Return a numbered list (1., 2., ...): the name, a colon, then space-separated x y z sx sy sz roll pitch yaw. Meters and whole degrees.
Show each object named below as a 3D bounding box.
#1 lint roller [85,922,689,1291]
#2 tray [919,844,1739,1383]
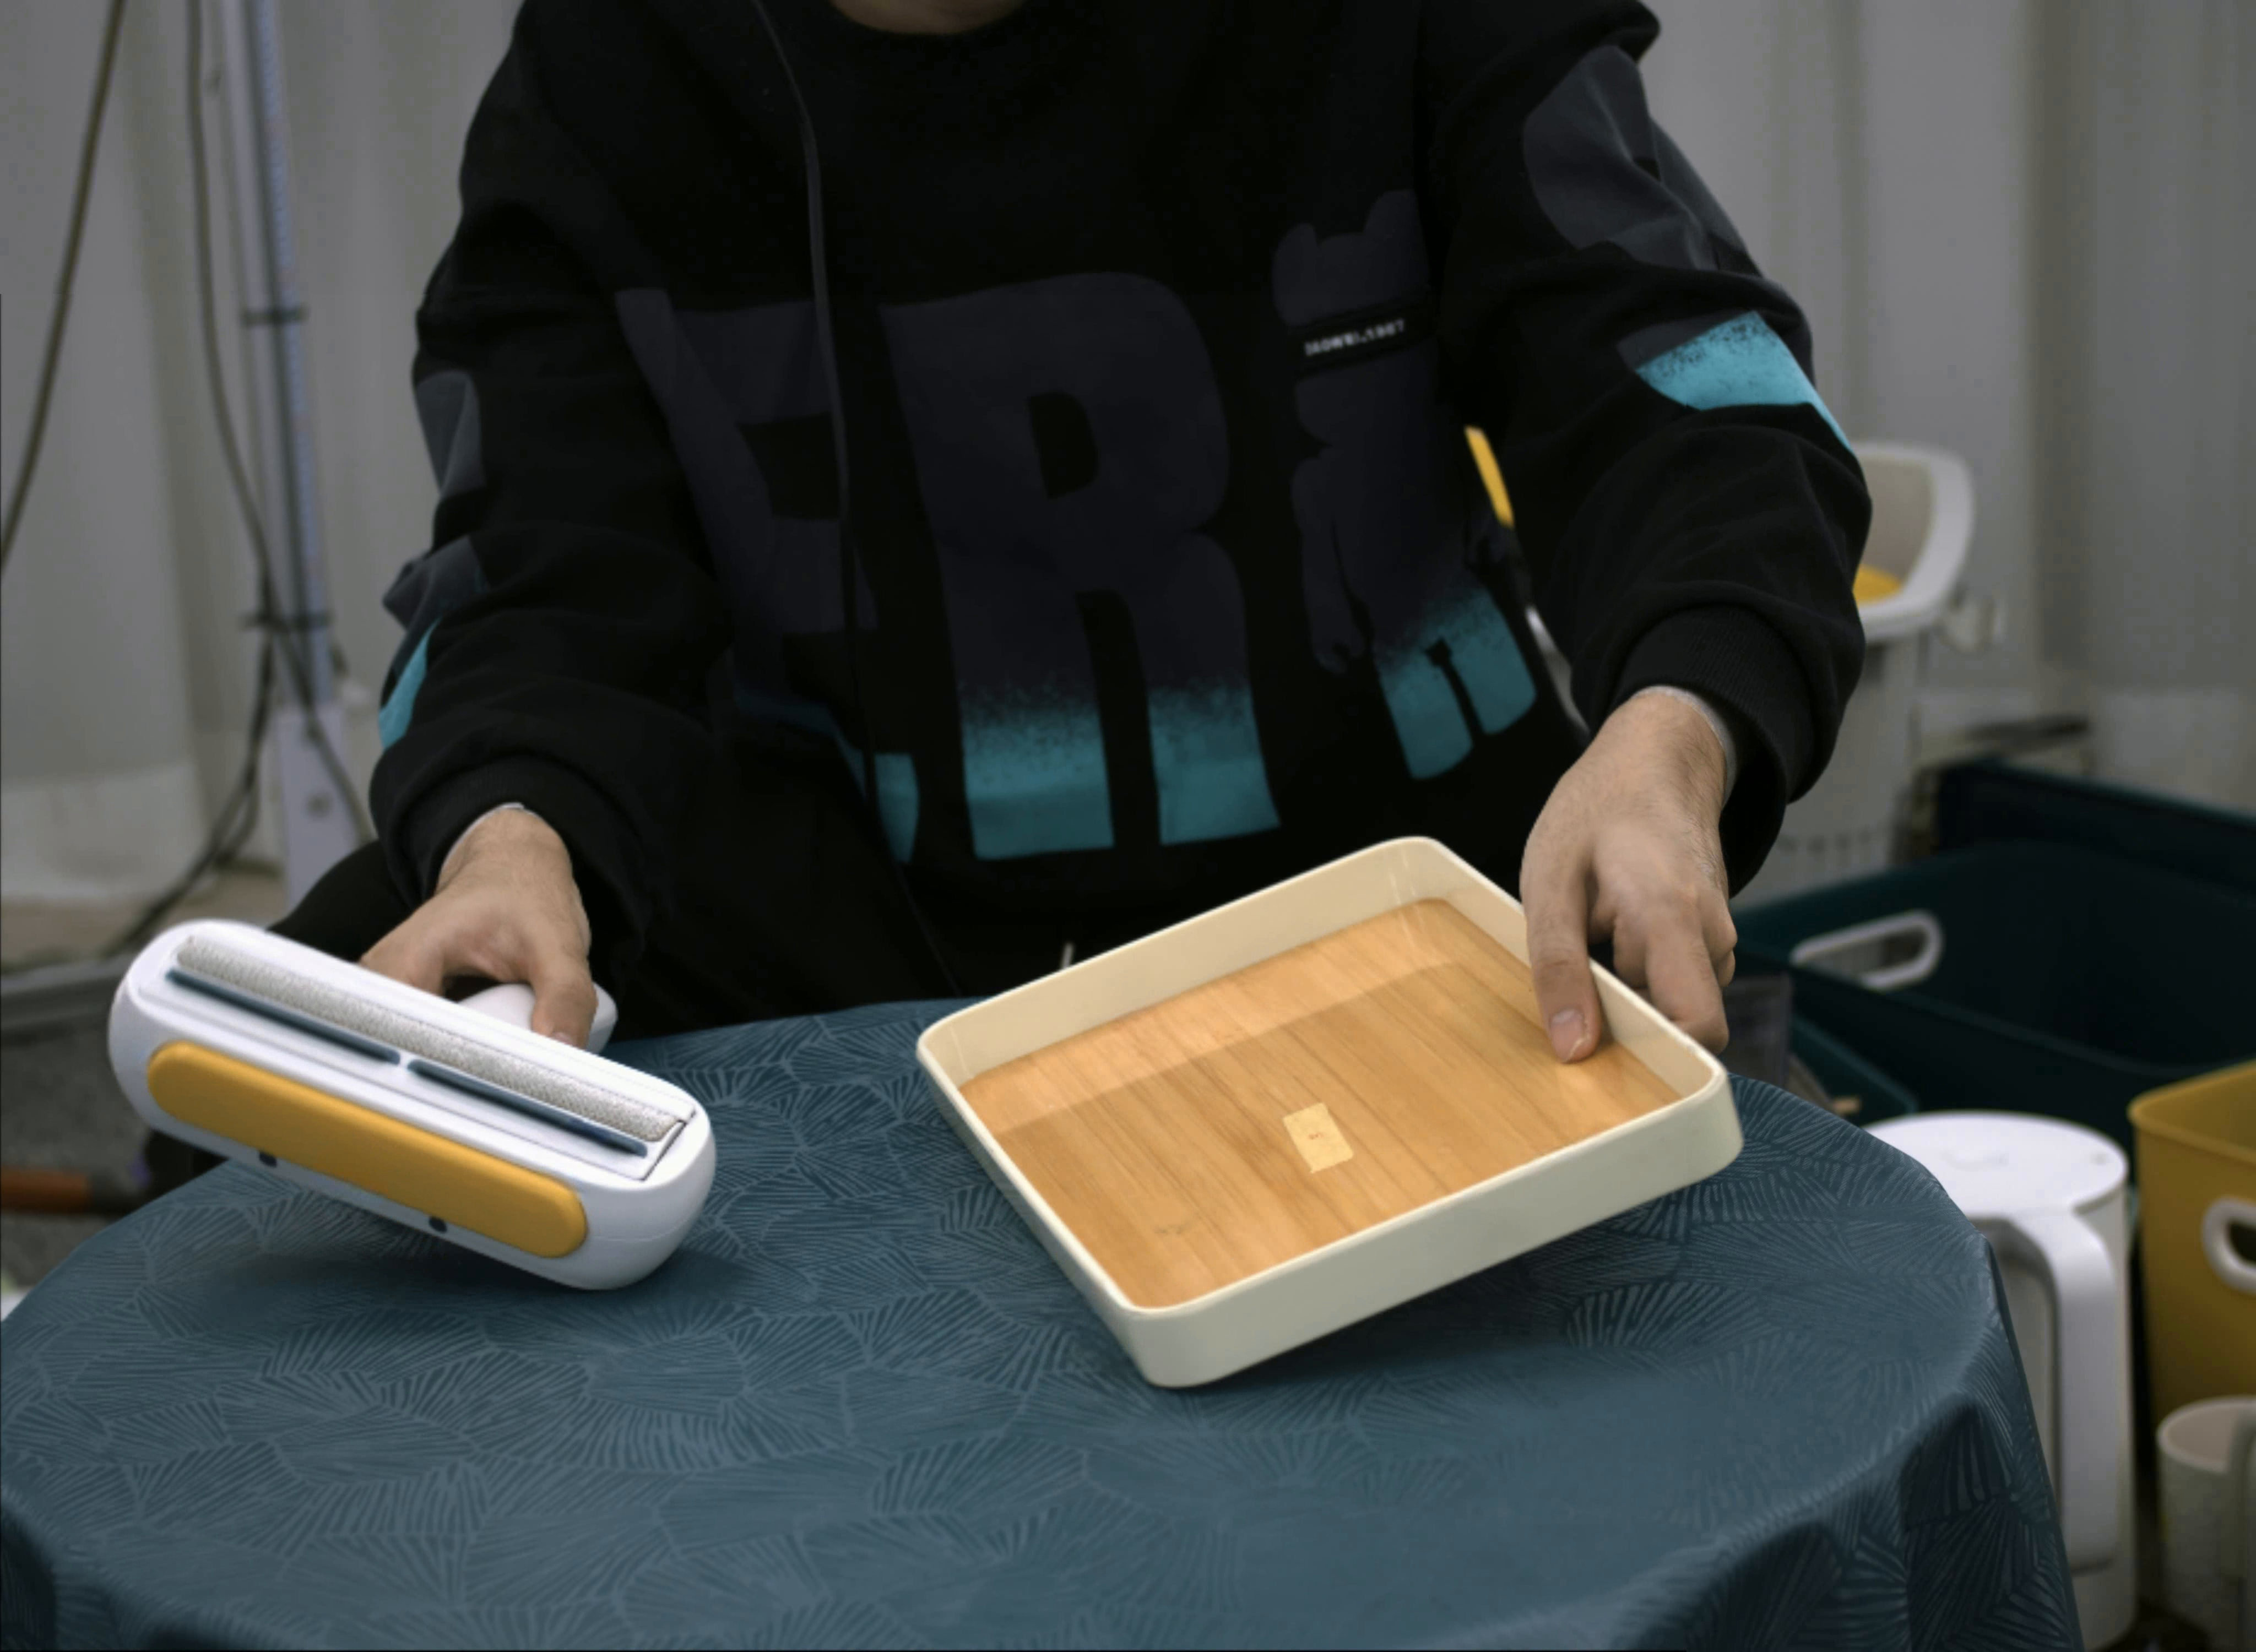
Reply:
1. lint roller: -0.207 0.072 1.727 0.193 0.073 0.193 15 24 16
2. tray: 0.054 0.083 1.684 0.191 0.027 0.303 -20 18 -8
